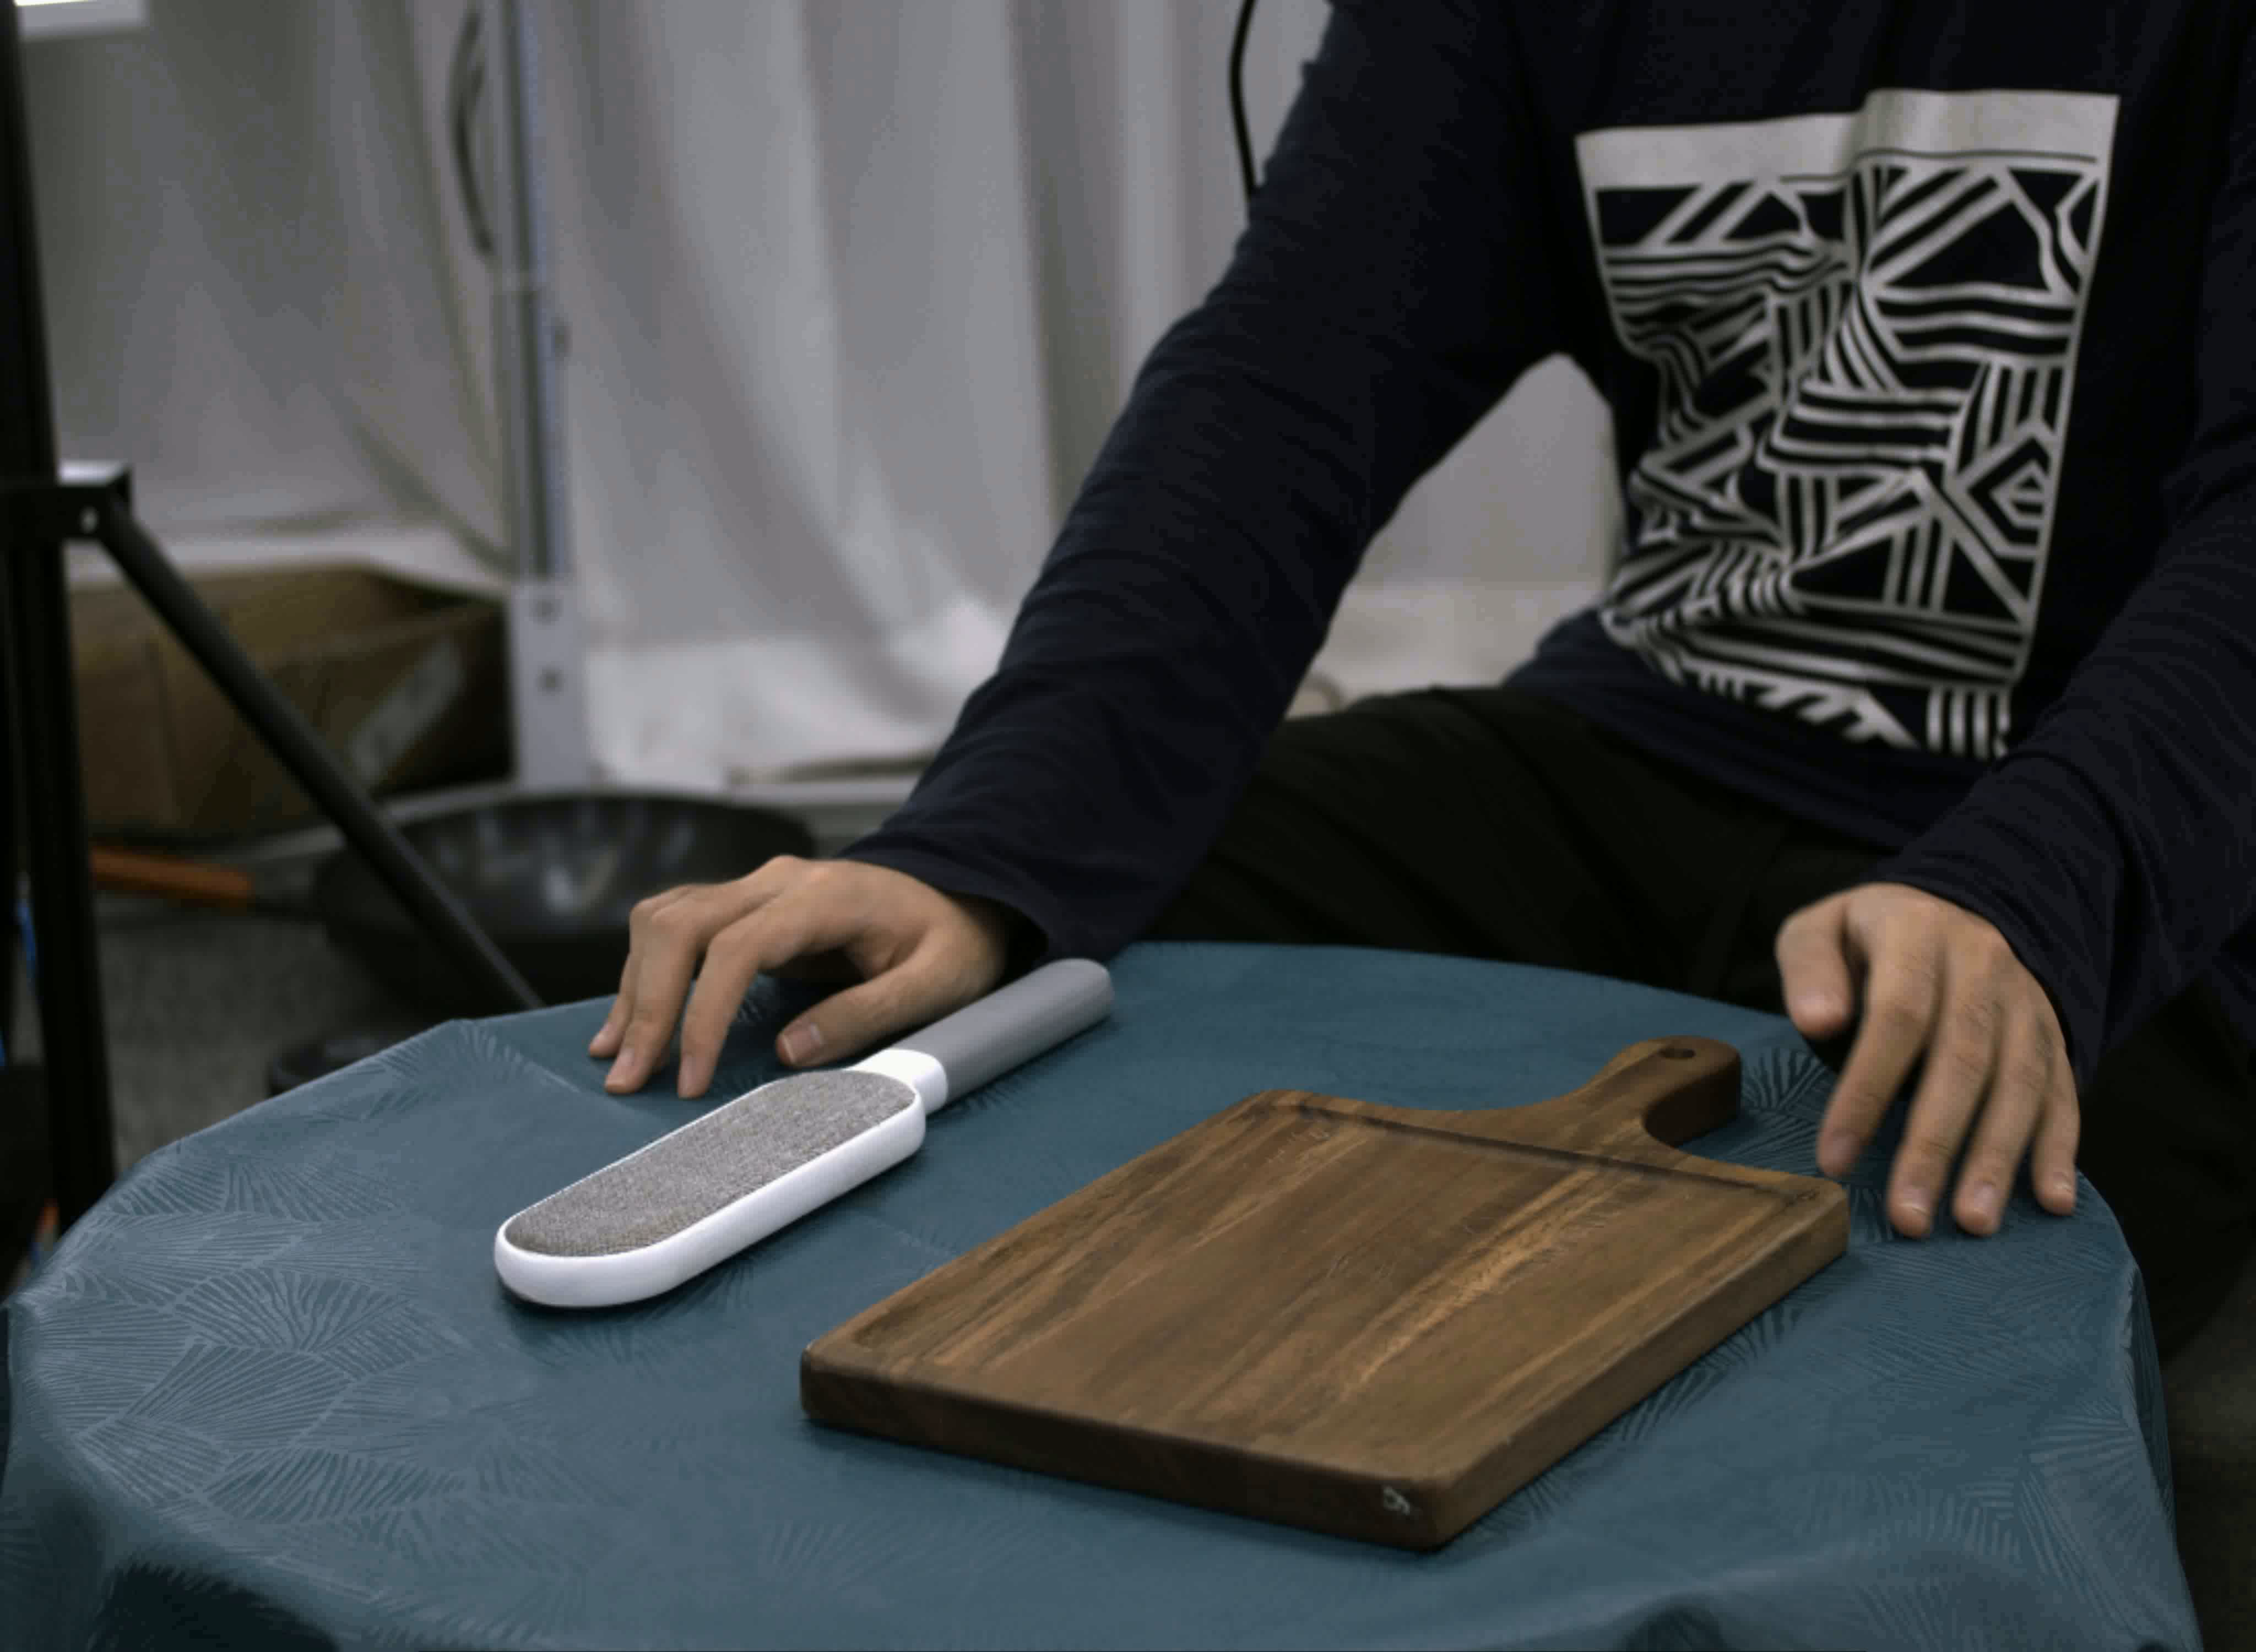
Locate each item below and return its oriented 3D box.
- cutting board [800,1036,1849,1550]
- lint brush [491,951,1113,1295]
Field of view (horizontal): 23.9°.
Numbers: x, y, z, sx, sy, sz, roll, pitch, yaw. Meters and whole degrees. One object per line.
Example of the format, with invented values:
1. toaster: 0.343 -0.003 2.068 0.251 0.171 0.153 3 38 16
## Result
1. cutting board: 0.084 0.117 1.481 0.205 0.023 0.345 7 18 32
2. lint brush: -0.087 0.086 1.604 0.061 0.021 0.303 1 15 31
